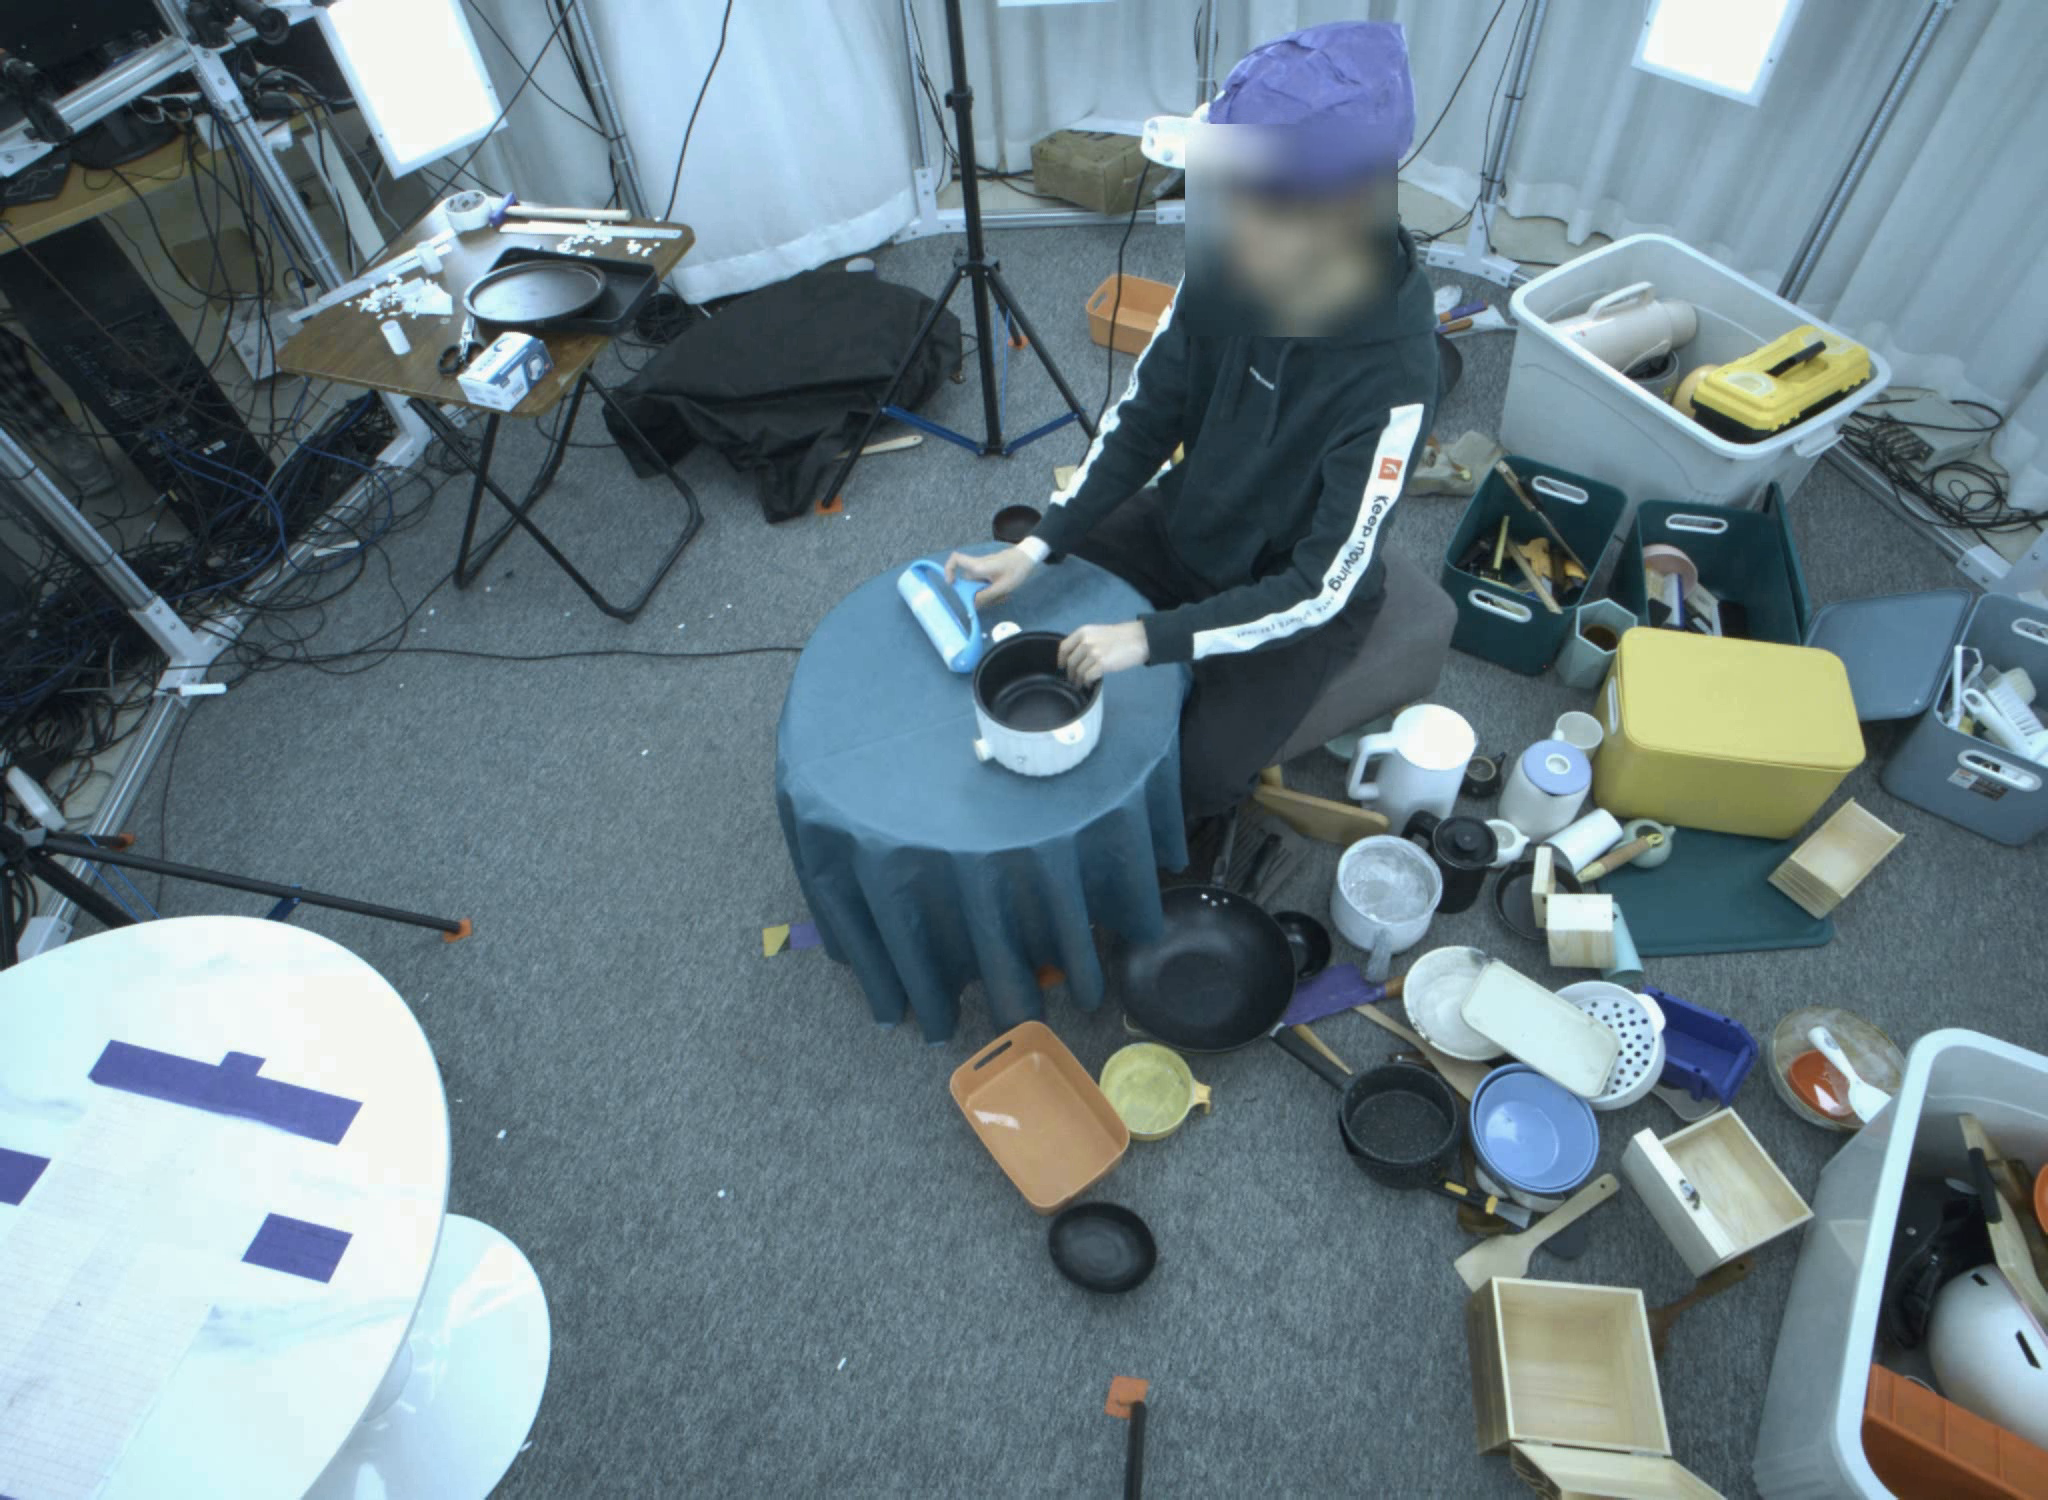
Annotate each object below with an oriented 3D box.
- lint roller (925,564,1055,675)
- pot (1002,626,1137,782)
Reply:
[{"bbox_3d":[-0.039,-0.229,1.904,0.181,0.069,0.224,-32,56,-8],"label":"lint roller"},{"bbox_3d":[0.059,-0.048,1.729,0.192,0.144,0.236,-21,55,-15],"label":"pot"}]
